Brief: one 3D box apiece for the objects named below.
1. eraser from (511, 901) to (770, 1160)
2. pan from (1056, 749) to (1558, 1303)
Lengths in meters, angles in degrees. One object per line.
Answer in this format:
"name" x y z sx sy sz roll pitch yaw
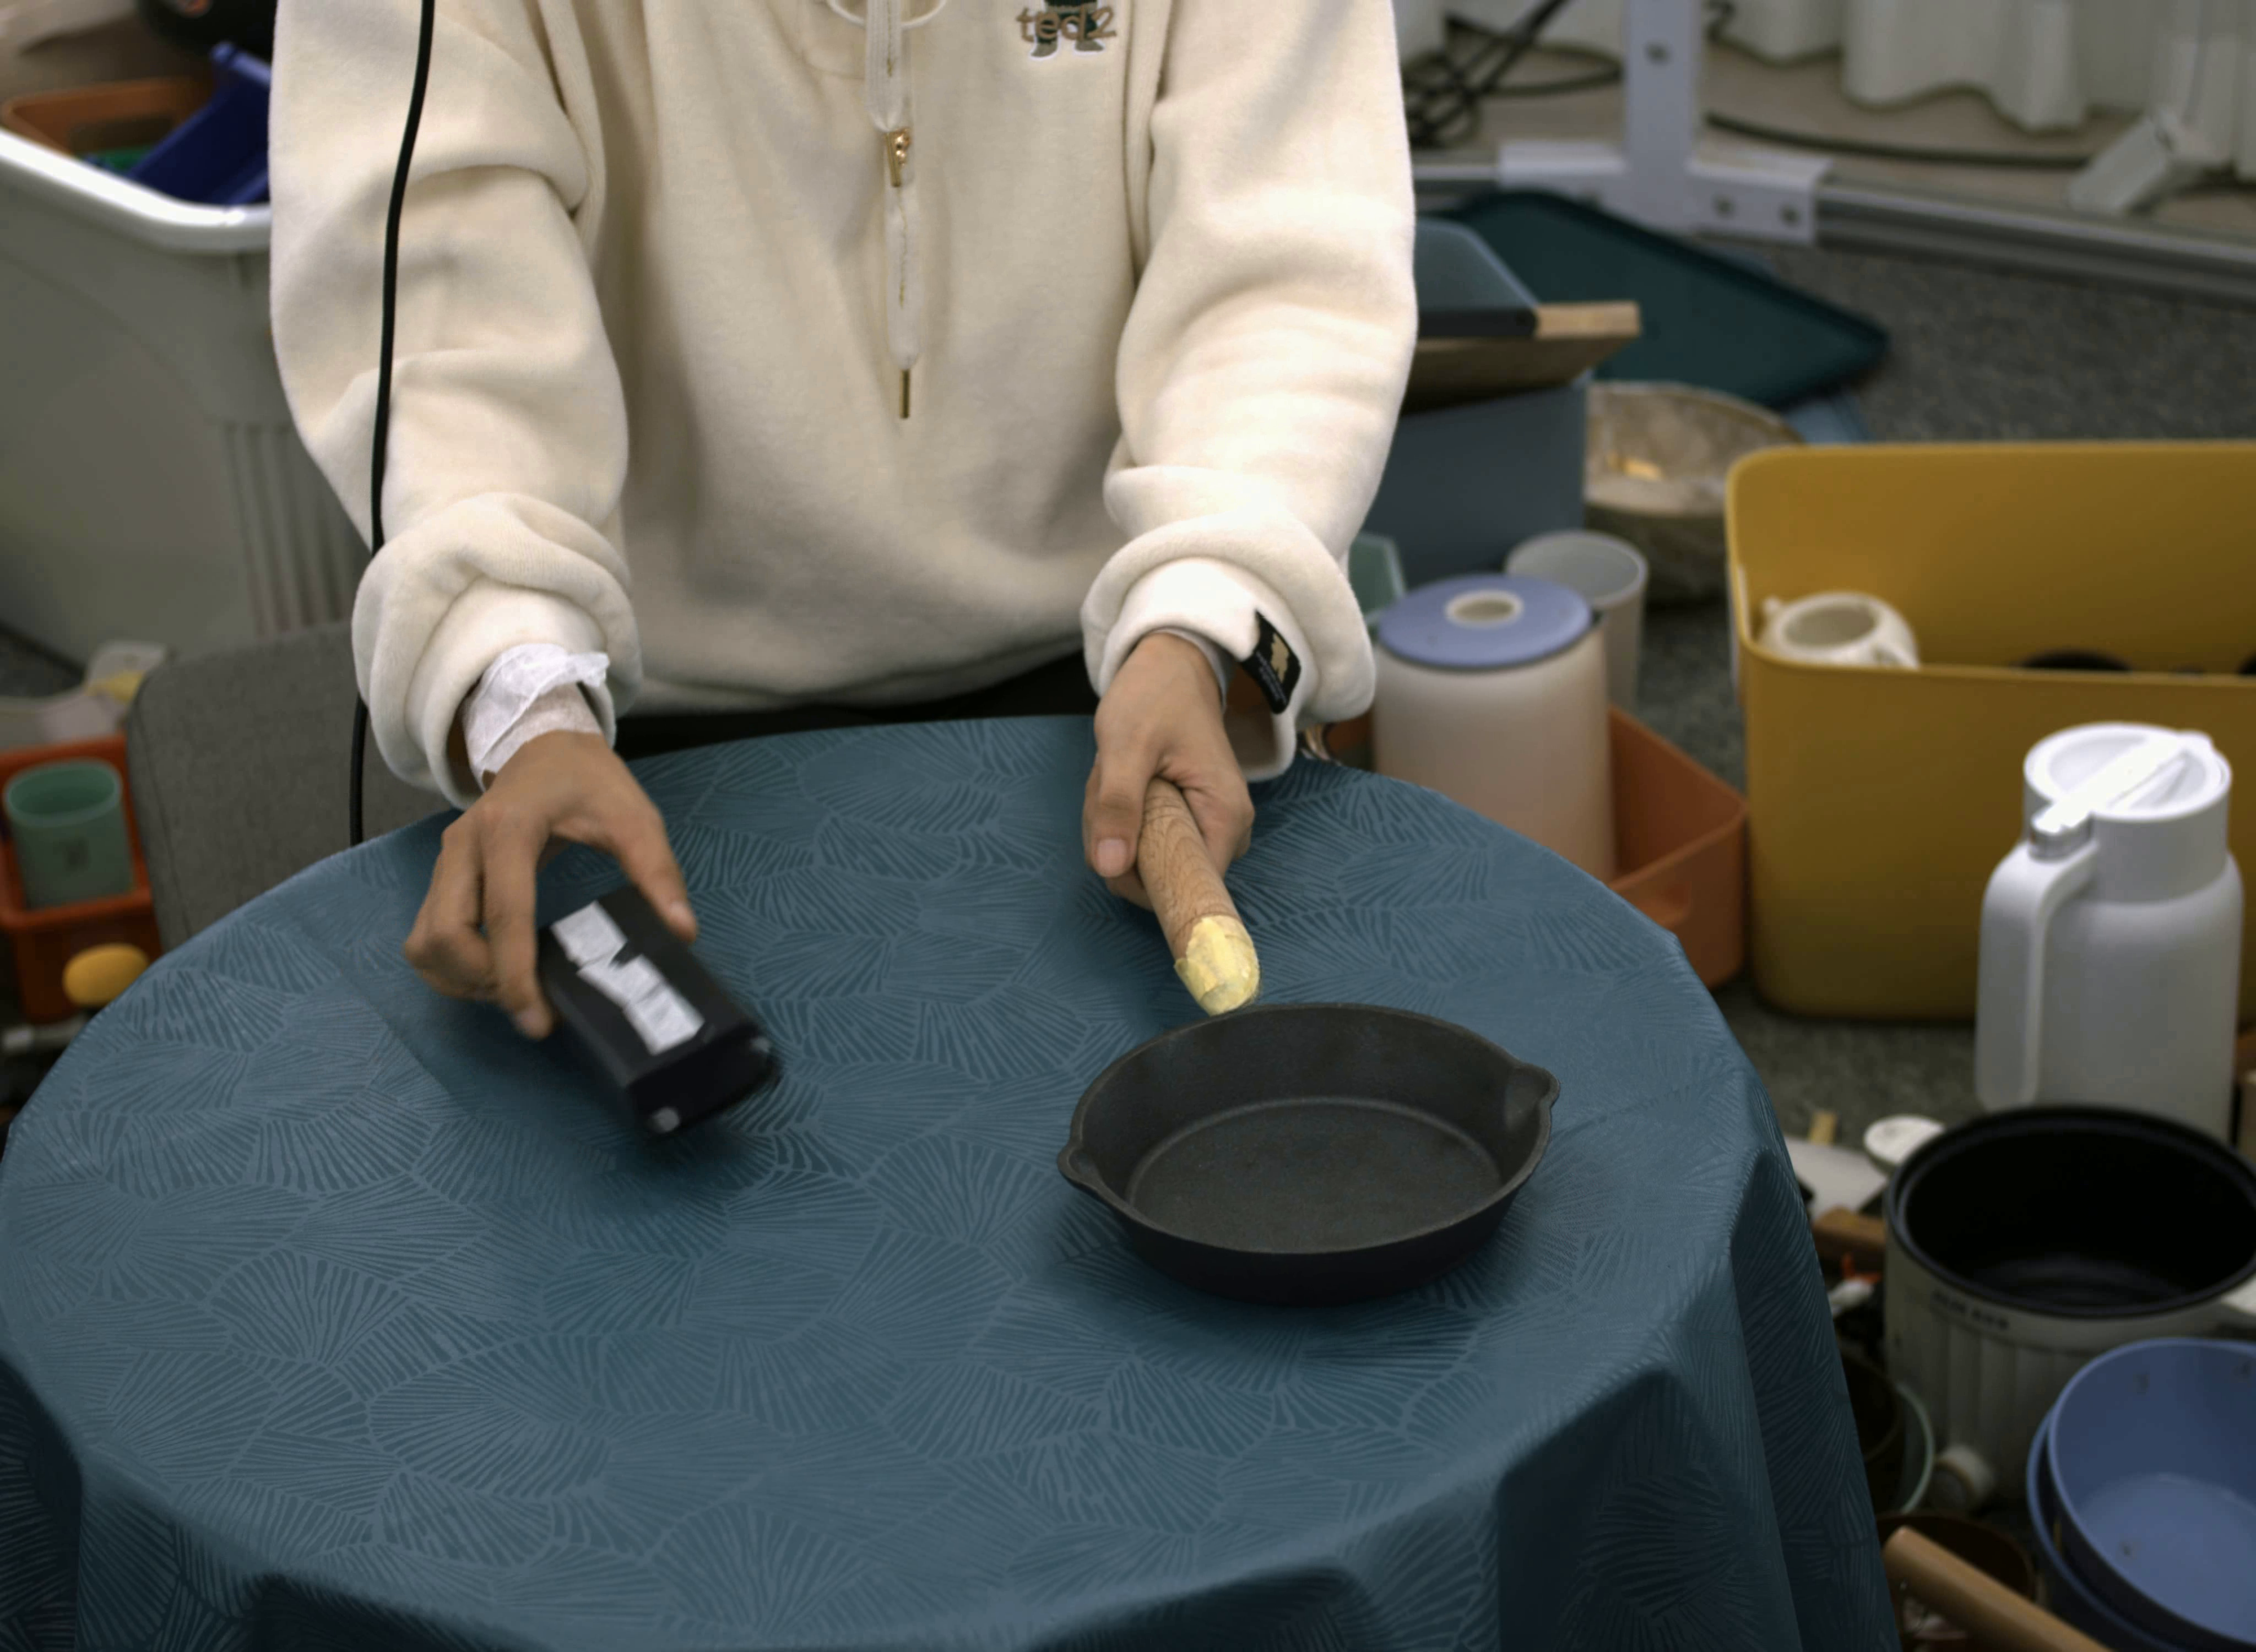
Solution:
"eraser" -0.167 0.069 1.920 0.054 0.030 0.126 -25 30 -13
"pan" 0.042 0.065 1.911 0.169 0.049 0.328 -9 29 -9
